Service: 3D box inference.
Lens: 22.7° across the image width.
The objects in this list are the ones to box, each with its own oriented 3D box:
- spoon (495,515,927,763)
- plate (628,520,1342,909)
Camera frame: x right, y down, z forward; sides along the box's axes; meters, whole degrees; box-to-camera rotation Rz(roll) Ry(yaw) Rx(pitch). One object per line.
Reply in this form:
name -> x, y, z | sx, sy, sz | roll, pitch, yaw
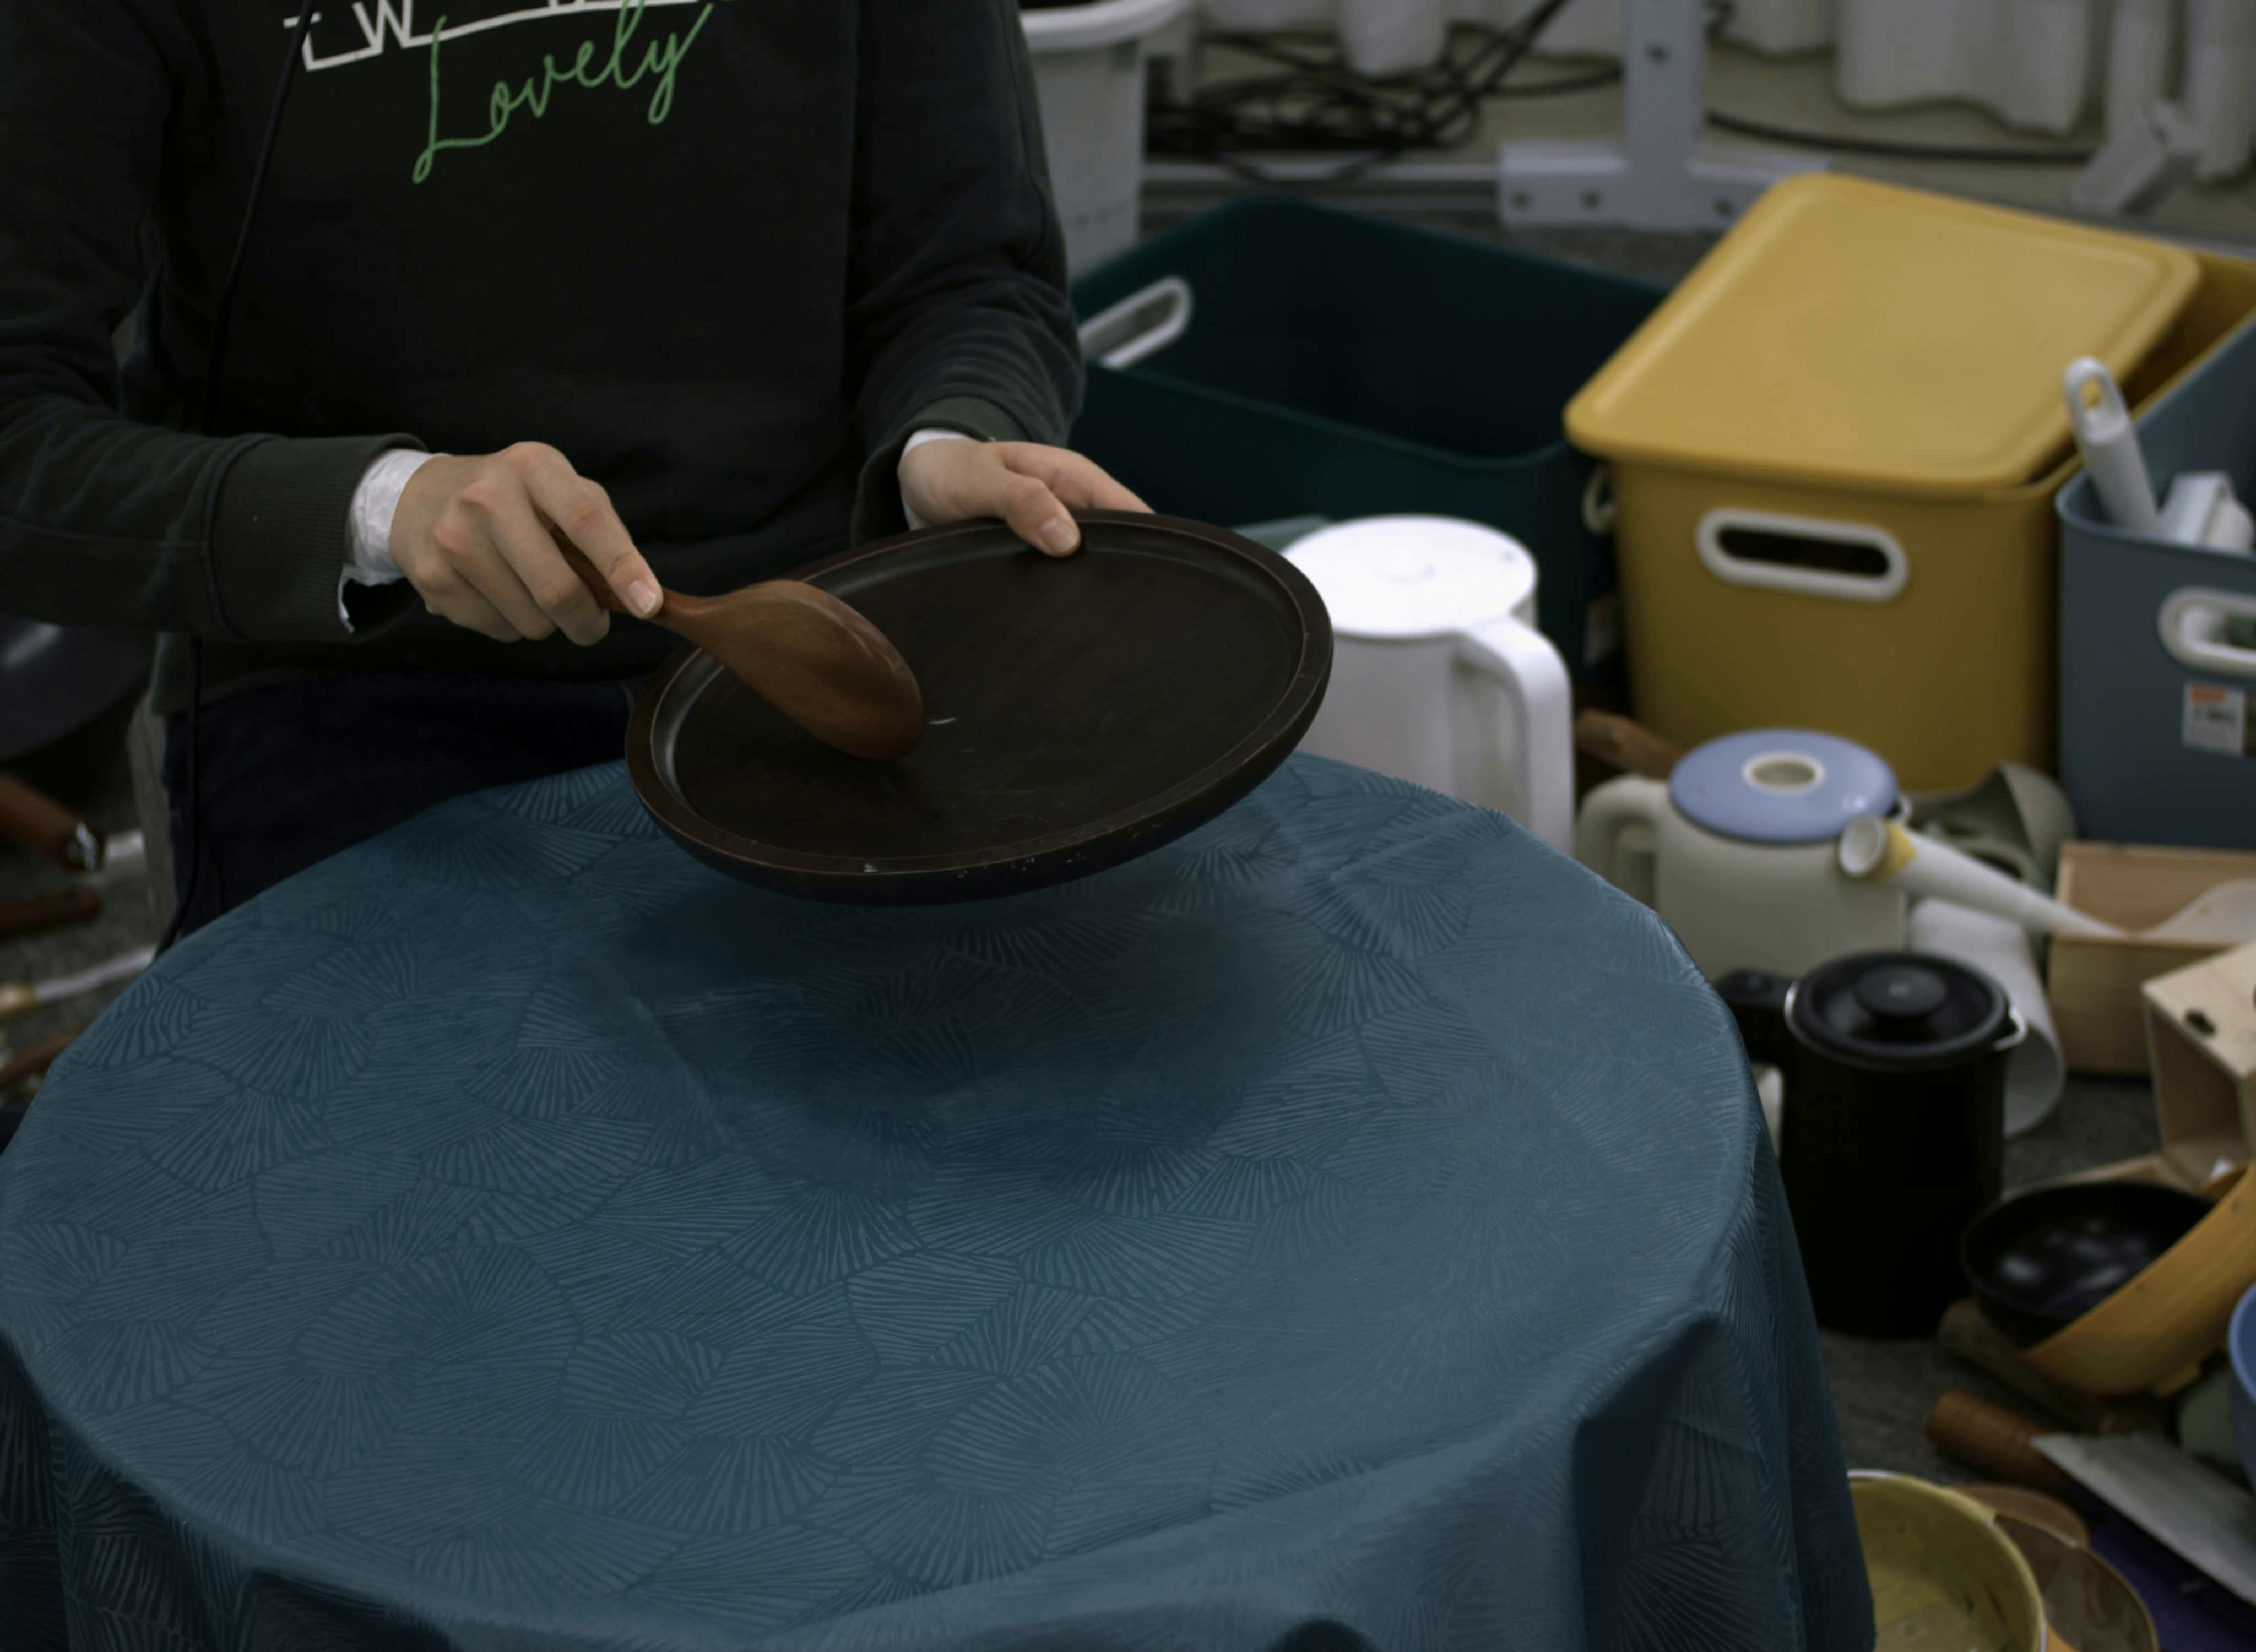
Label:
spoon -> -0.150, -0.070, 1.978 | 0.215, 0.074, 0.017 | 23, 54, 40
plate -> -0.050, -0.041, 1.974 | 0.253, 0.029, 0.259 | -7, 31, 4
